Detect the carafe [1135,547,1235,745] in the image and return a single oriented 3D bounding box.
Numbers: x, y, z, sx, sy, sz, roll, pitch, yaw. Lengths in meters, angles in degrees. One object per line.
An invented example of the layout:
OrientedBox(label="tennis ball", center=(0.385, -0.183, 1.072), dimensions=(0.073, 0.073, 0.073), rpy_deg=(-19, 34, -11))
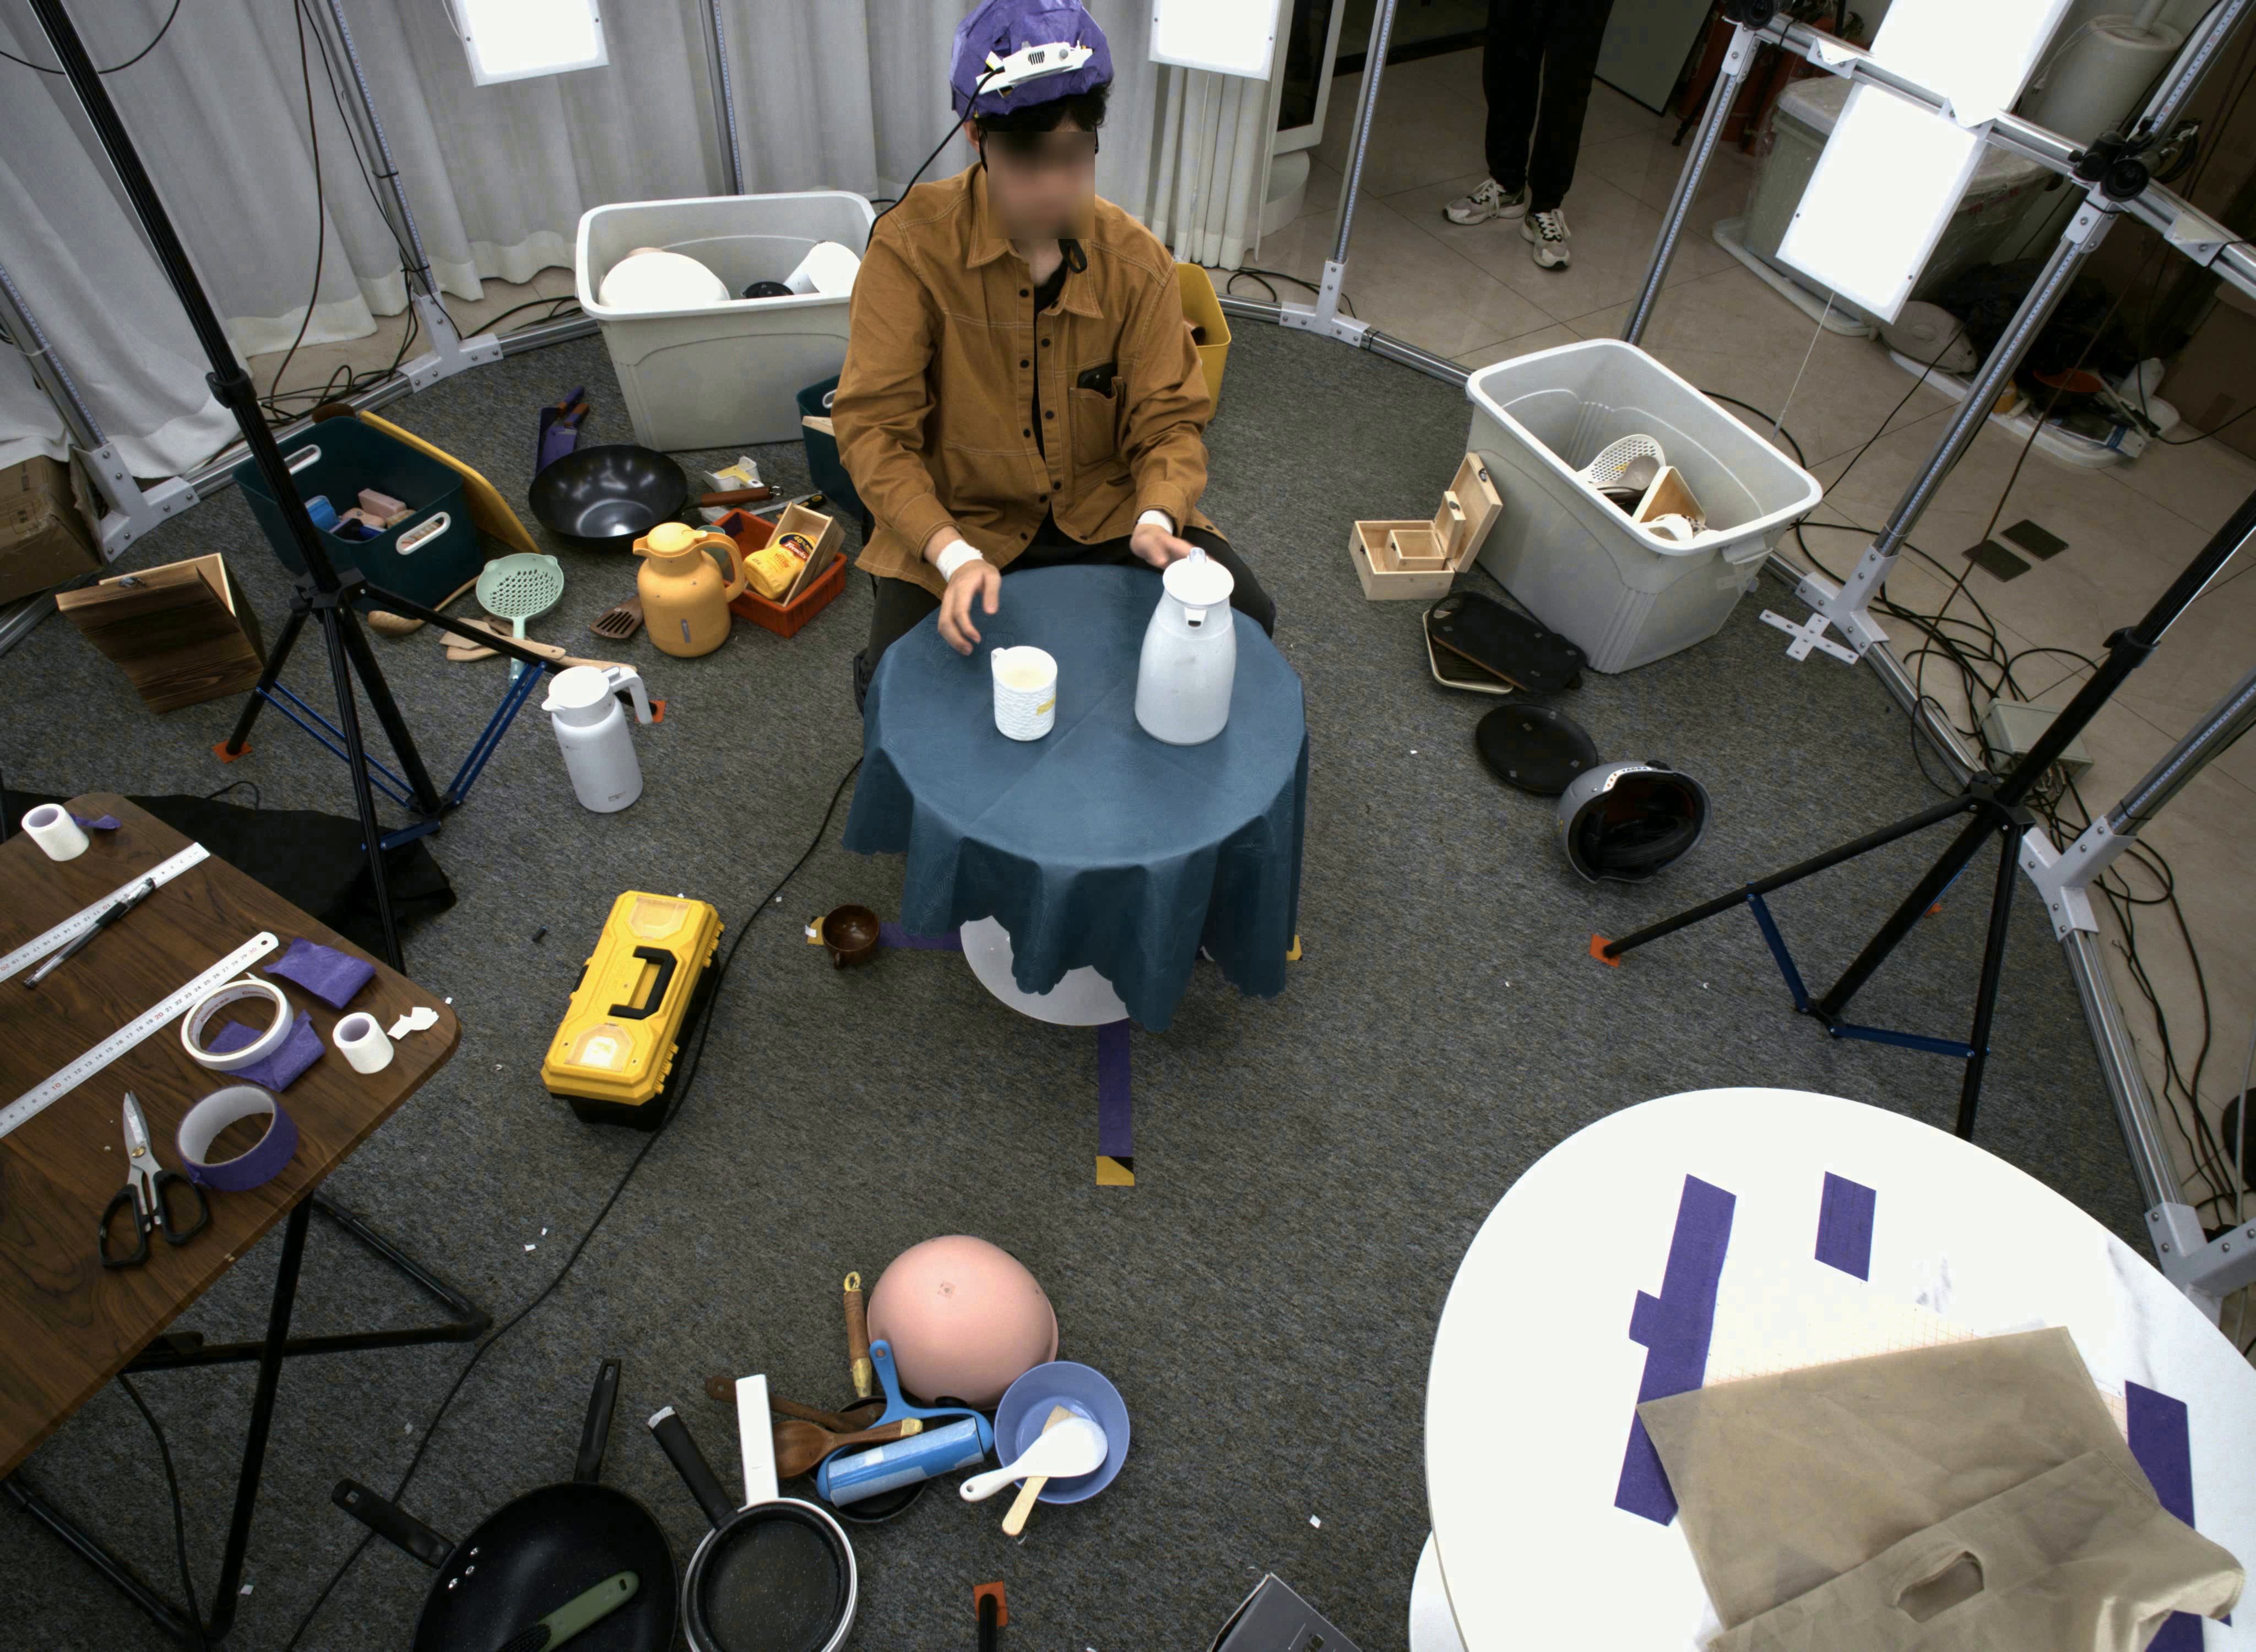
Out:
OrientedBox(label="carafe", center=(0.081, -0.255, 1.735), dimensions=(0.132, 0.242, 0.172), rpy_deg=(4, 49, 1))

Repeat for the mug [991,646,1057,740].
OrientedBox(label="mug", center=(-0.150, -0.189, 1.758), dimensions=(0.085, 0.099, 0.120), rpy_deg=(-28, 57, -25))
